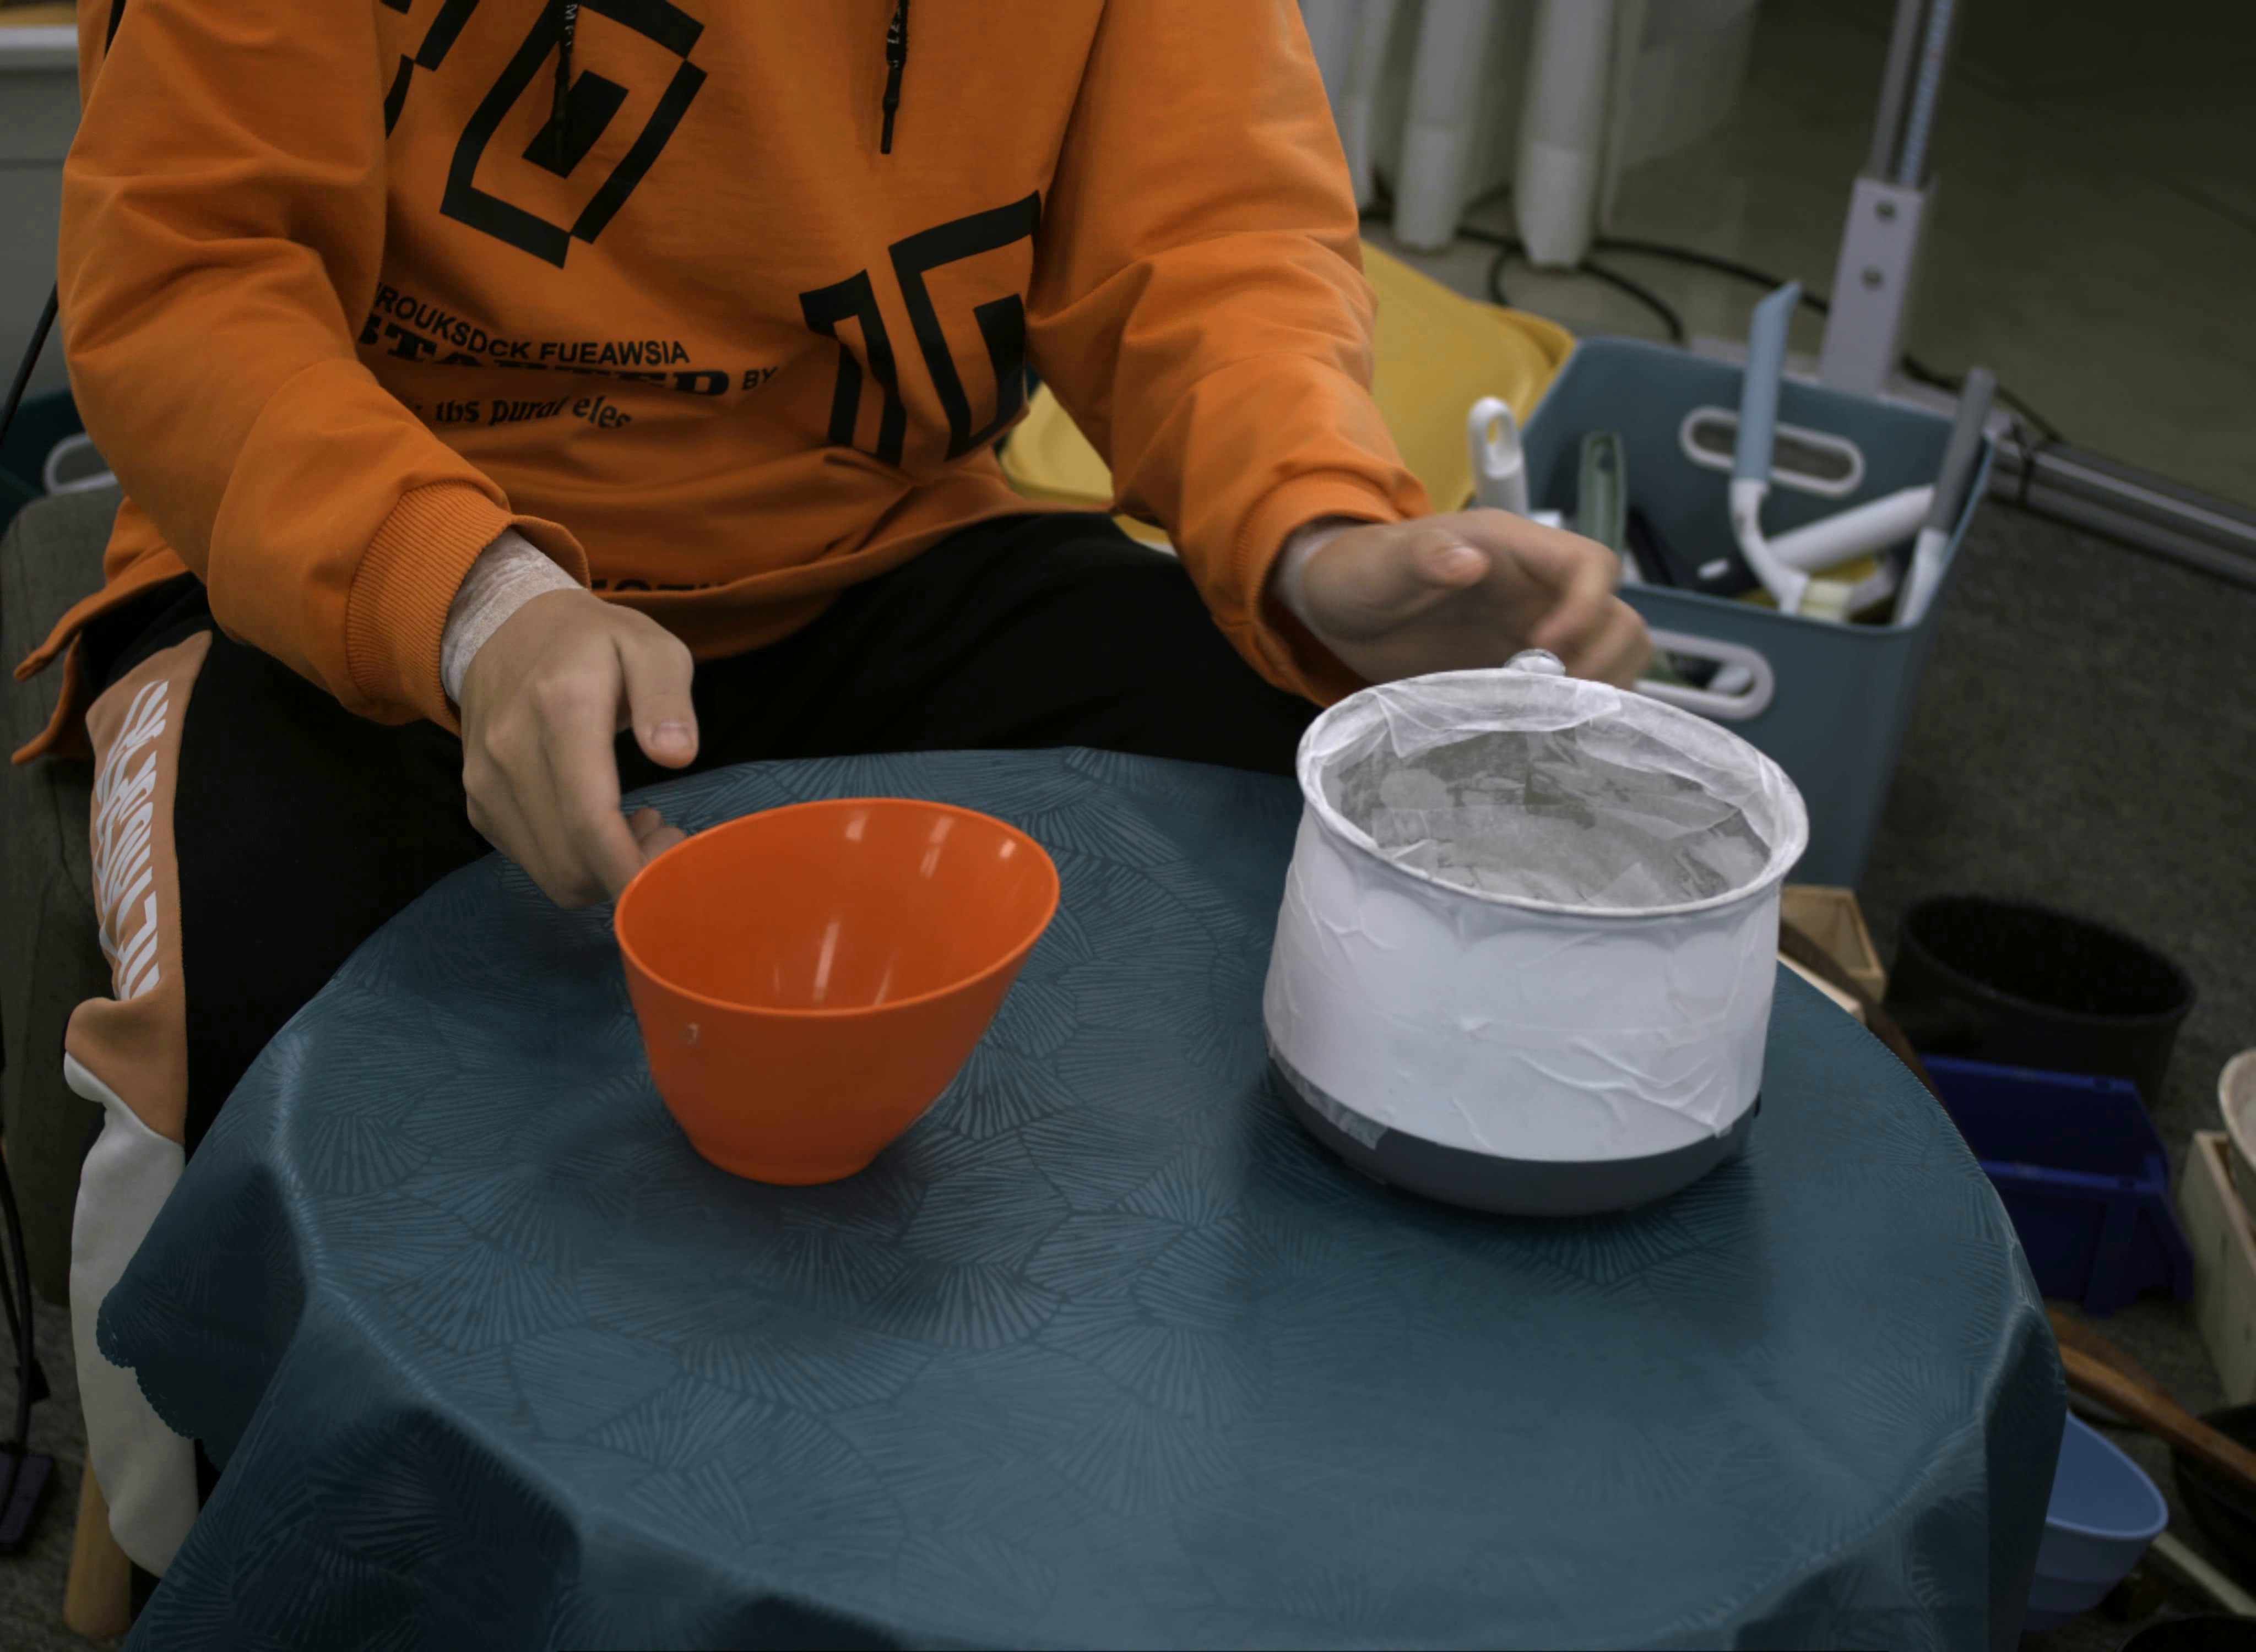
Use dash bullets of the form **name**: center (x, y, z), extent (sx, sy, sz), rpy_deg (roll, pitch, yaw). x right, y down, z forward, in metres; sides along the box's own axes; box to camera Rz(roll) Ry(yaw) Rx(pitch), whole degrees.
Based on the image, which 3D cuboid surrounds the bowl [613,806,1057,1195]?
- **bowl**: center (-0.101, 0.064, 1.790), extent (0.147, 0.104, 0.149), rpy_deg (4, 27, -2)

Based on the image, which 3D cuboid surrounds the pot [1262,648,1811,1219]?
- **pot**: center (0.138, 0.030, 1.866), extent (0.178, 0.136, 0.235), rpy_deg (6, 27, -3)
